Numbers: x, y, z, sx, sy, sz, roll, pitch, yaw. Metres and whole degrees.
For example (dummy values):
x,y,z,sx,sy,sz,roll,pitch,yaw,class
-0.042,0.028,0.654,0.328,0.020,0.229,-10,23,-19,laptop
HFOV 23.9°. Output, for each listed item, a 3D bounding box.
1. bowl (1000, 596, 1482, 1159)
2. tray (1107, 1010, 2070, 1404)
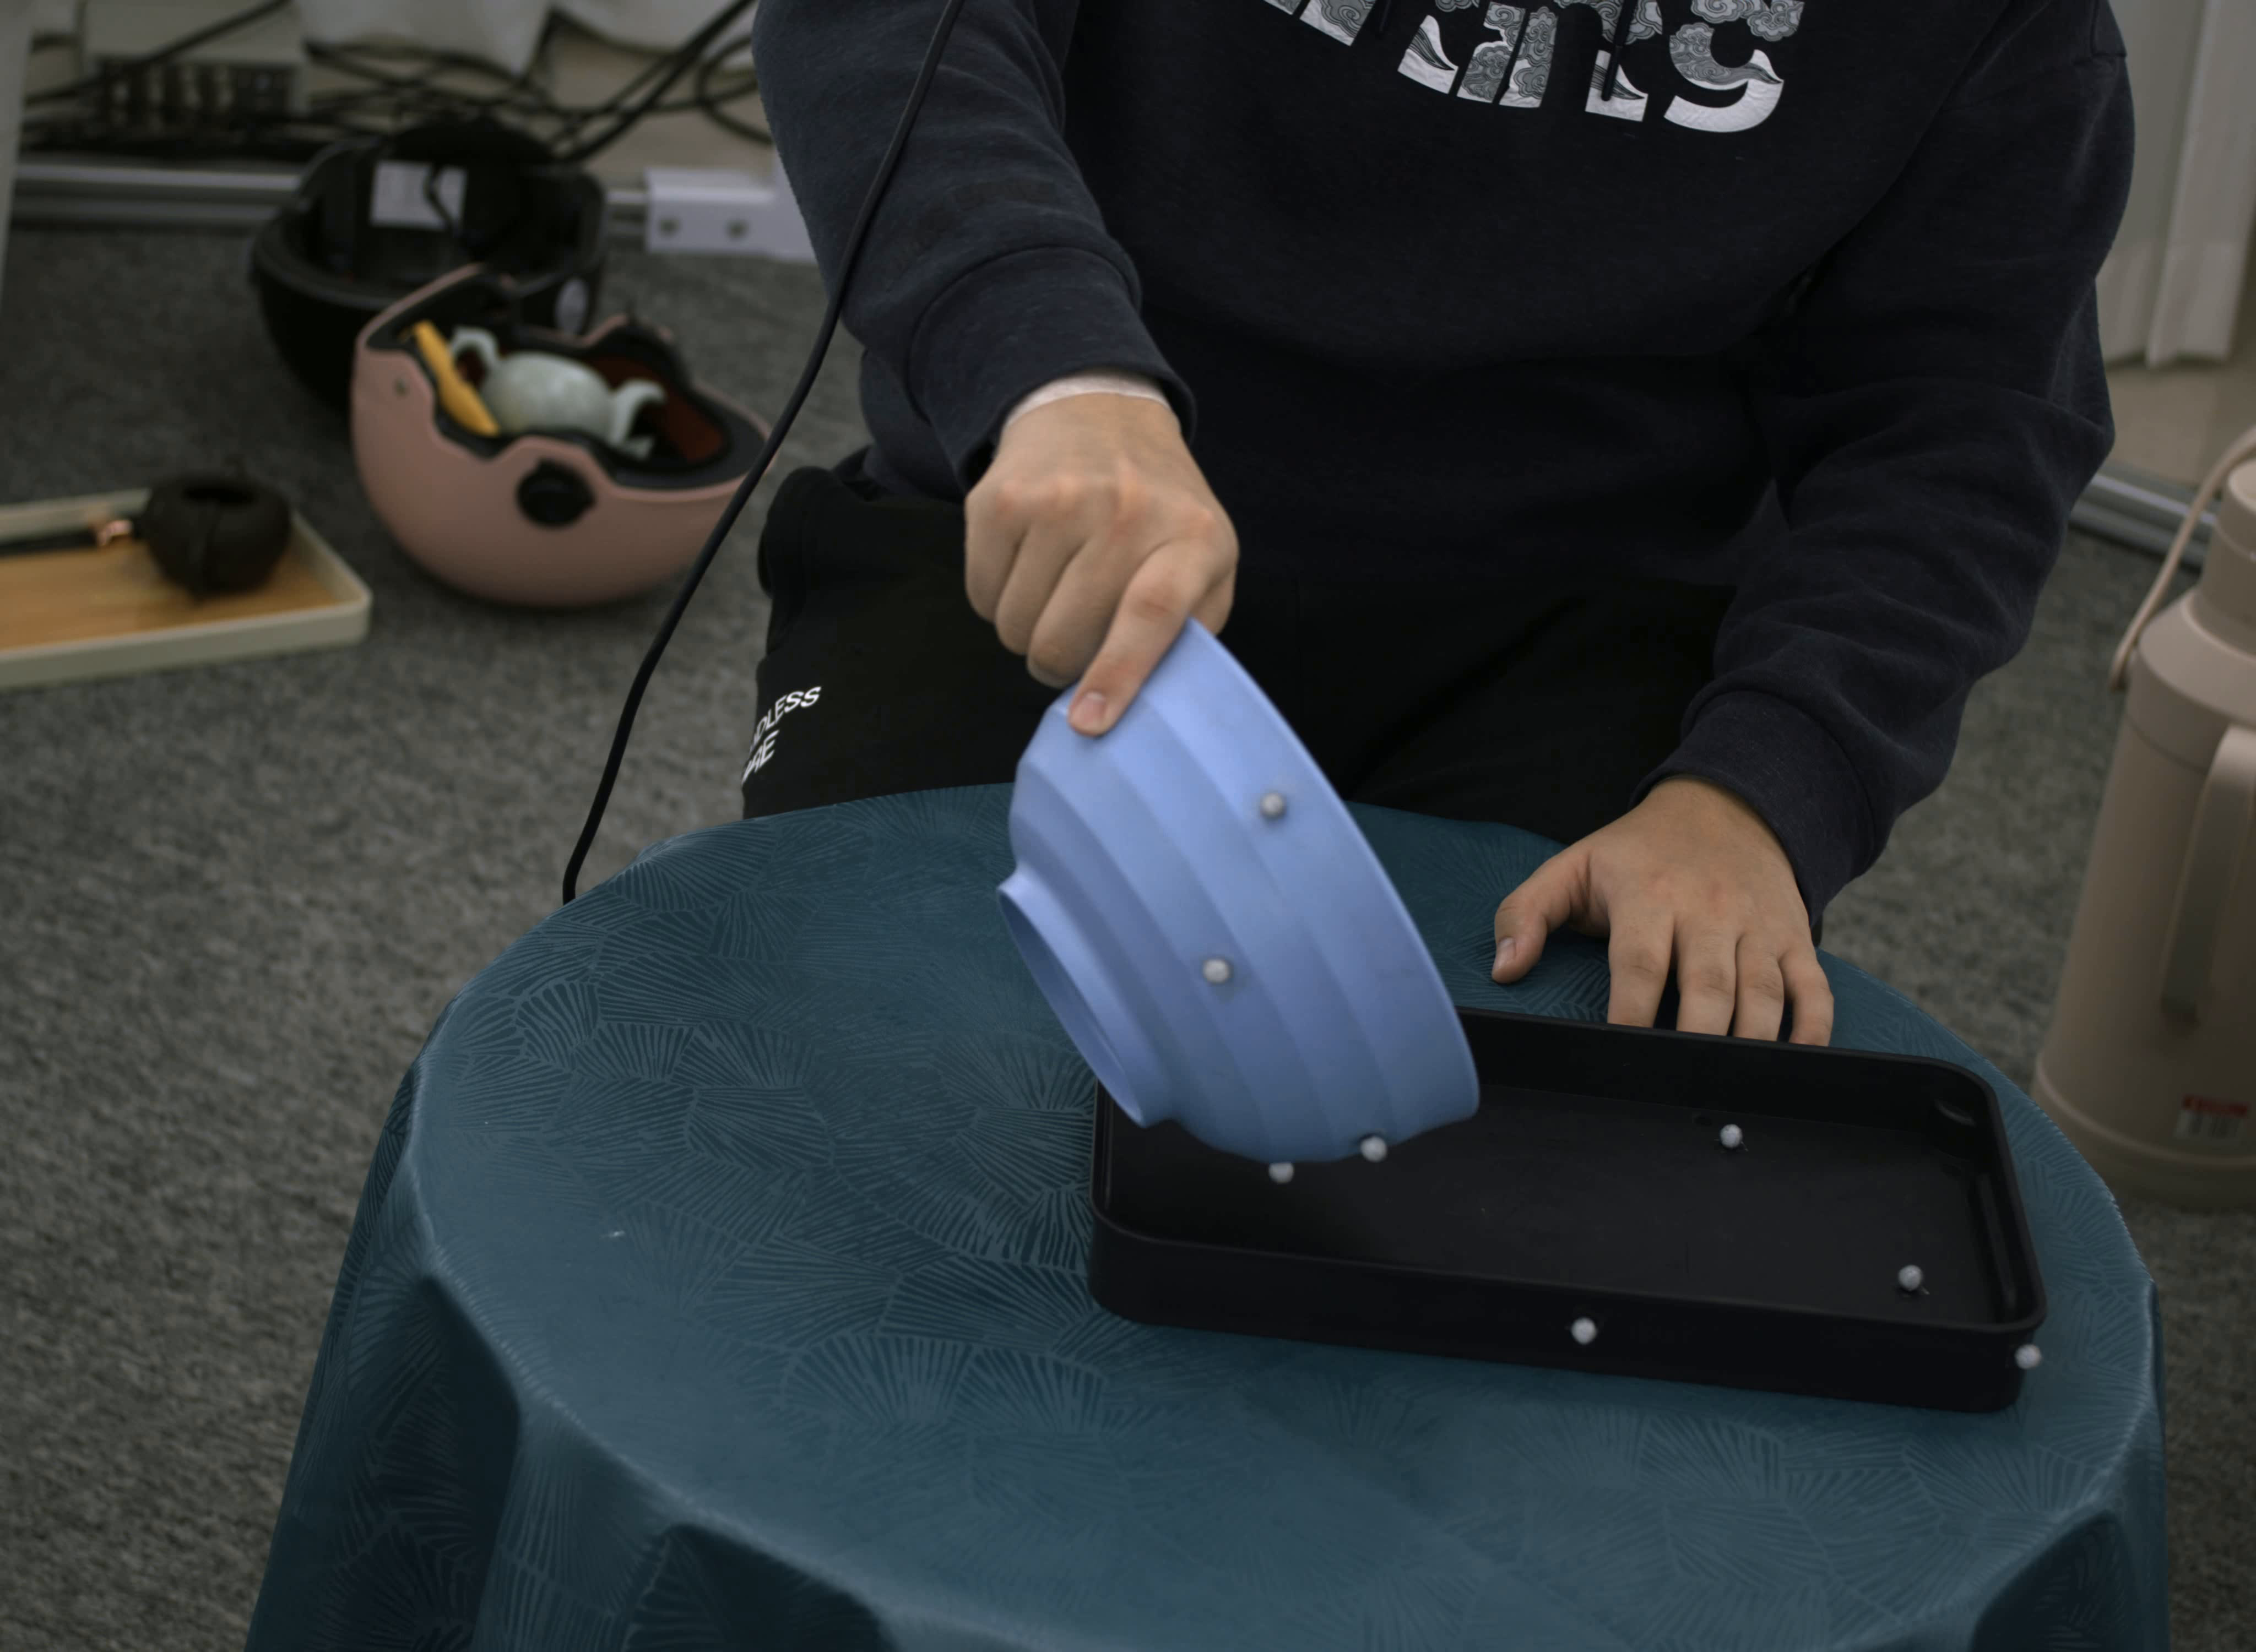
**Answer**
x,y,z,sx,sy,sz,roll,pitch,yaw,class
0.022,0.032,1.719,0.095,0.195,0.198,-32,36,-5,bowl
0.149,0.123,1.806,0.317,0.037,0.185,5,26,-2,tray
